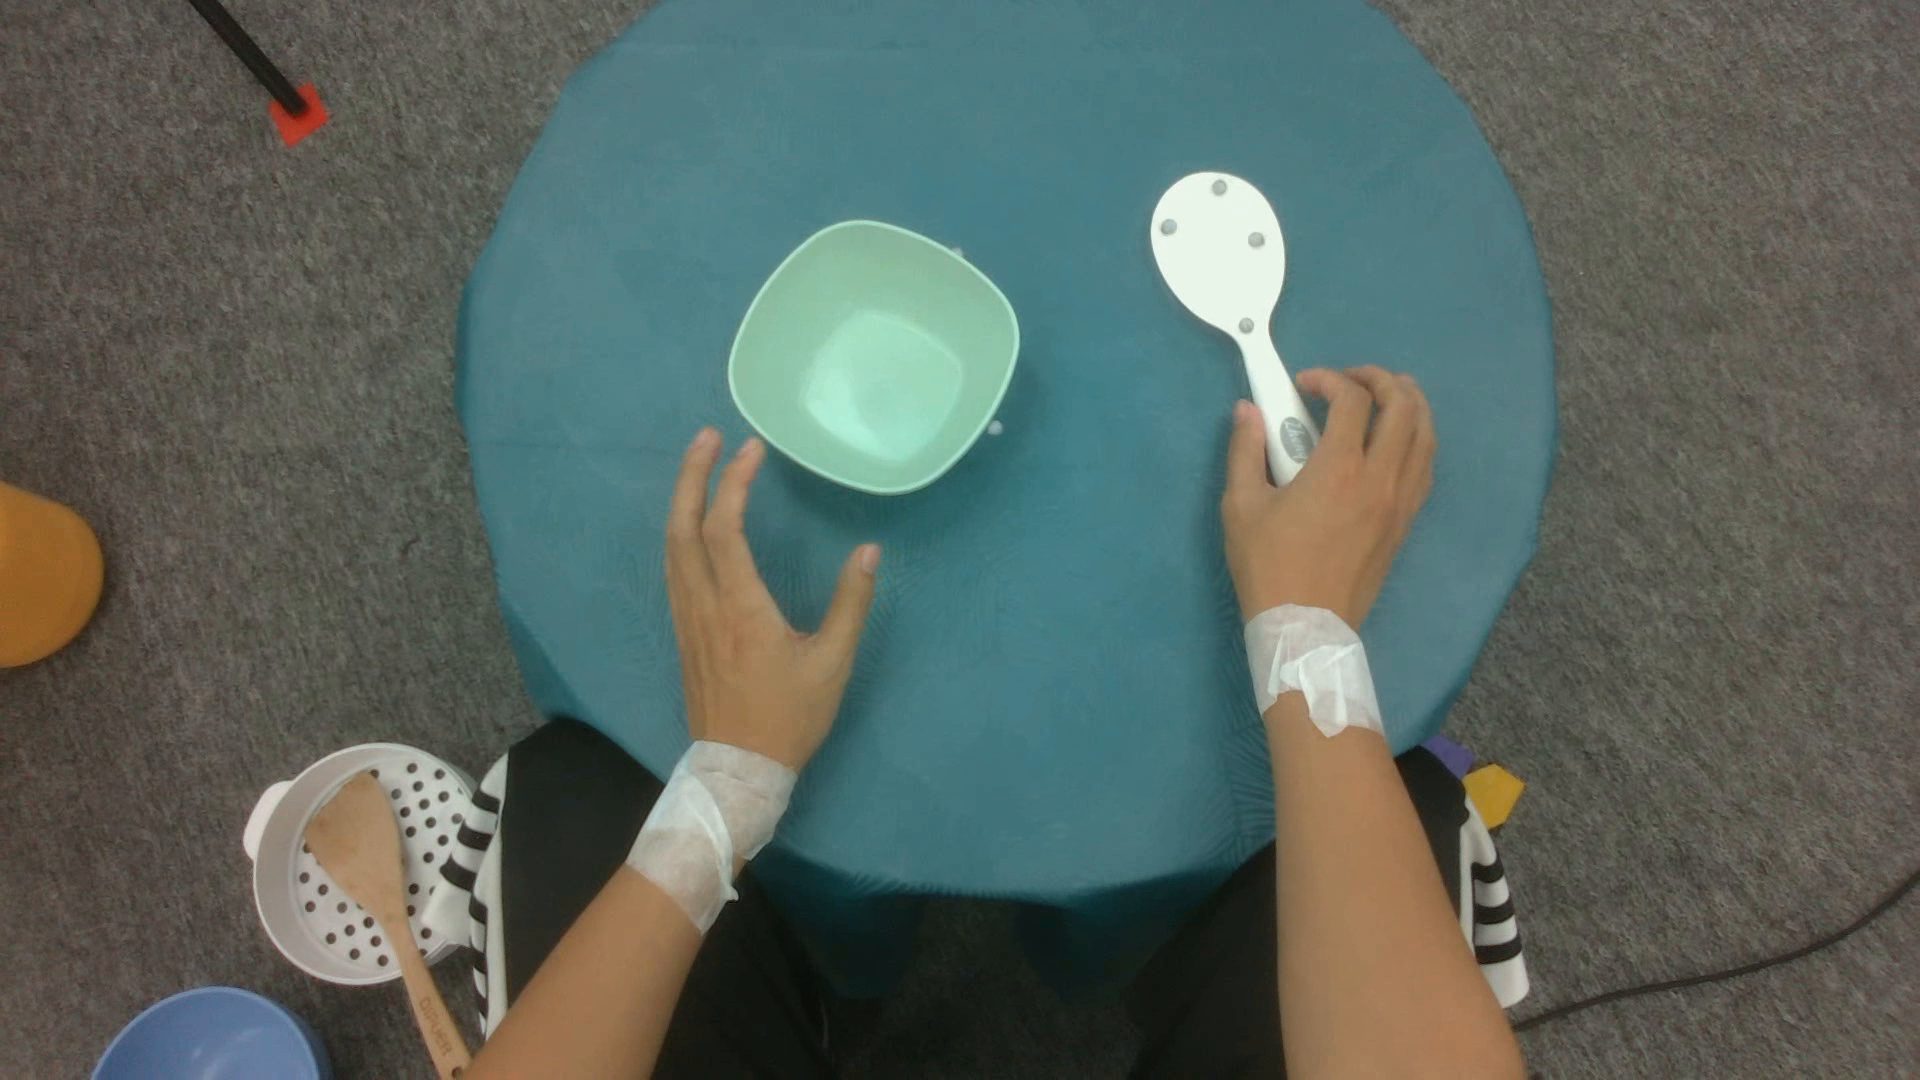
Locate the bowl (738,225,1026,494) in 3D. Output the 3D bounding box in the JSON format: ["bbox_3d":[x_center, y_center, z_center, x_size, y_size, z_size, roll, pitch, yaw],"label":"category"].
[{"bbox_3d":[-0.041,-0.089,0.741,0.151,0.058,0.152,0,74,-2],"label":"bowl"}]

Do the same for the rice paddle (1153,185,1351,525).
[{"bbox_3d":[0.161,-0.107,0.754,0.069,0.029,0.205,-18,75,1],"label":"rice paddle"}]
